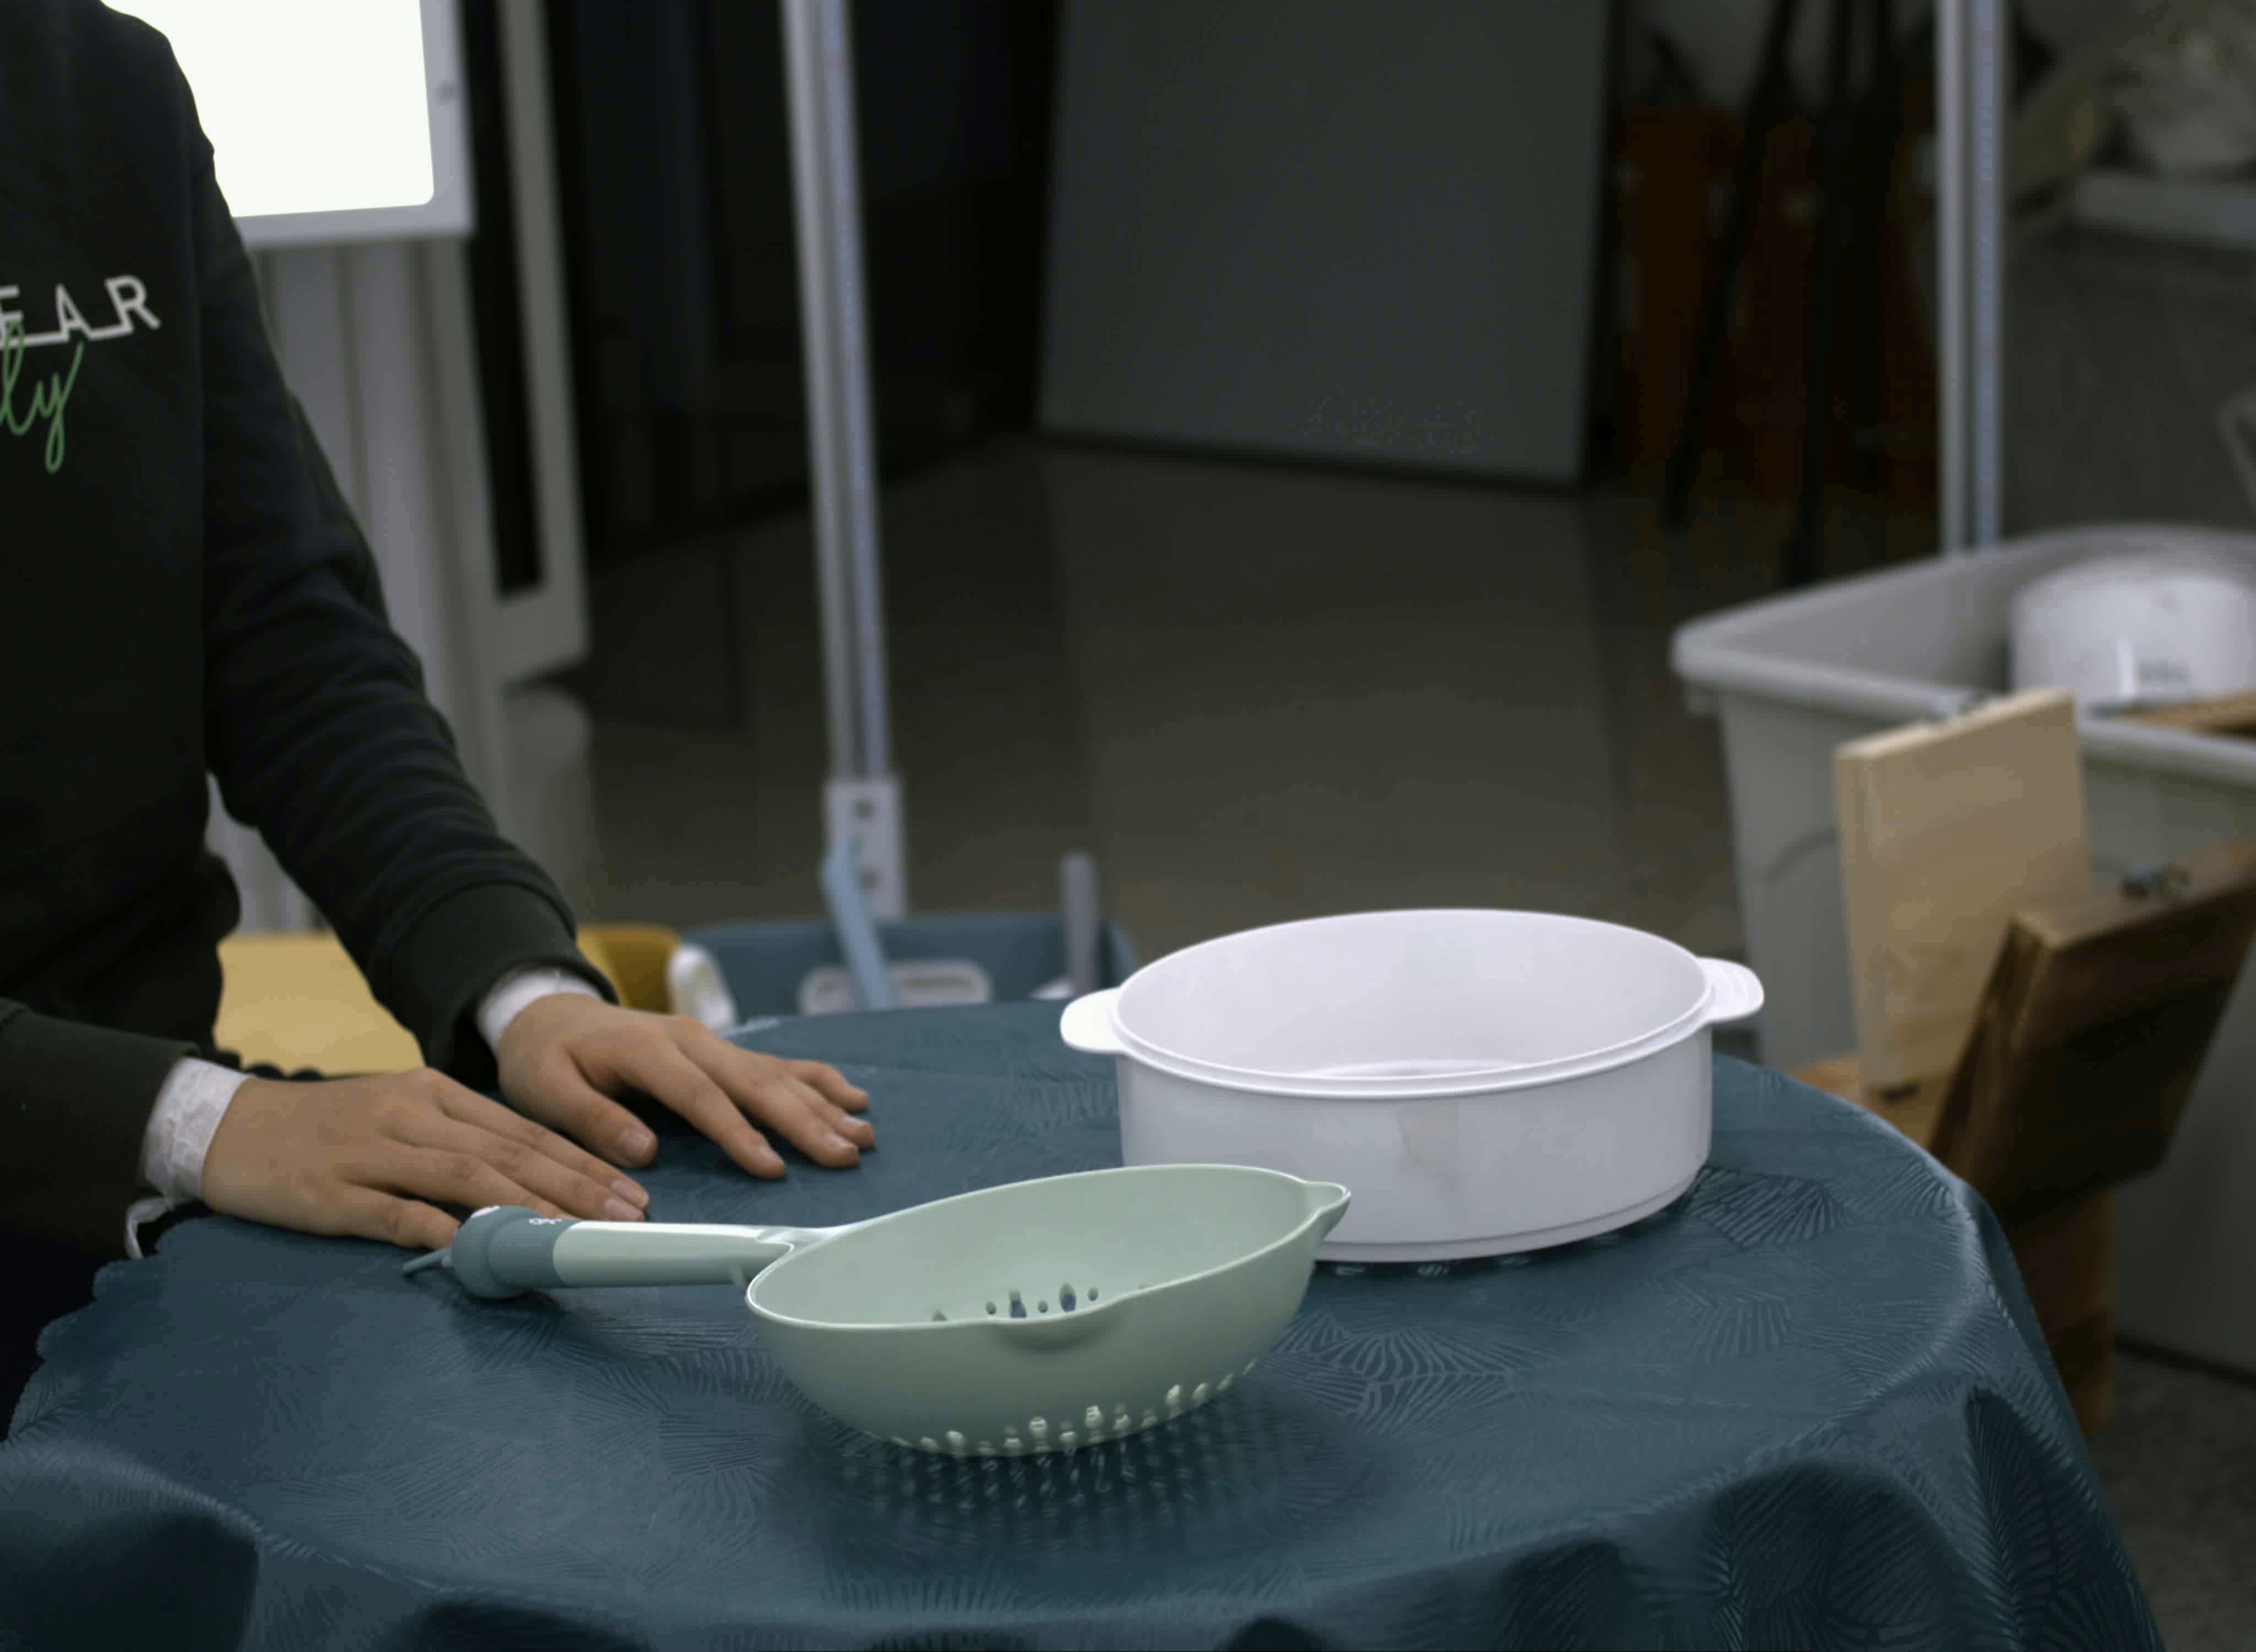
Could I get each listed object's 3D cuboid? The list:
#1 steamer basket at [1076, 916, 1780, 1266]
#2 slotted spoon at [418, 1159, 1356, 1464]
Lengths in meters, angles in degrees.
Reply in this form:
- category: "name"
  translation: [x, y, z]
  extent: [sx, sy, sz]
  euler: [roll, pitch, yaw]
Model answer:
- category: "steamer basket"
  translation: [0.098, 0.086, 1.749]
  extent: [0.228, 0.070, 0.202]
  euler: [-4, 13, 2]
- category: "slotted spoon"
  translation: [-0.094, 0.134, 1.612]
  extent: [0.362, 0.076, 0.166]
  euler: [8, 18, 42]
